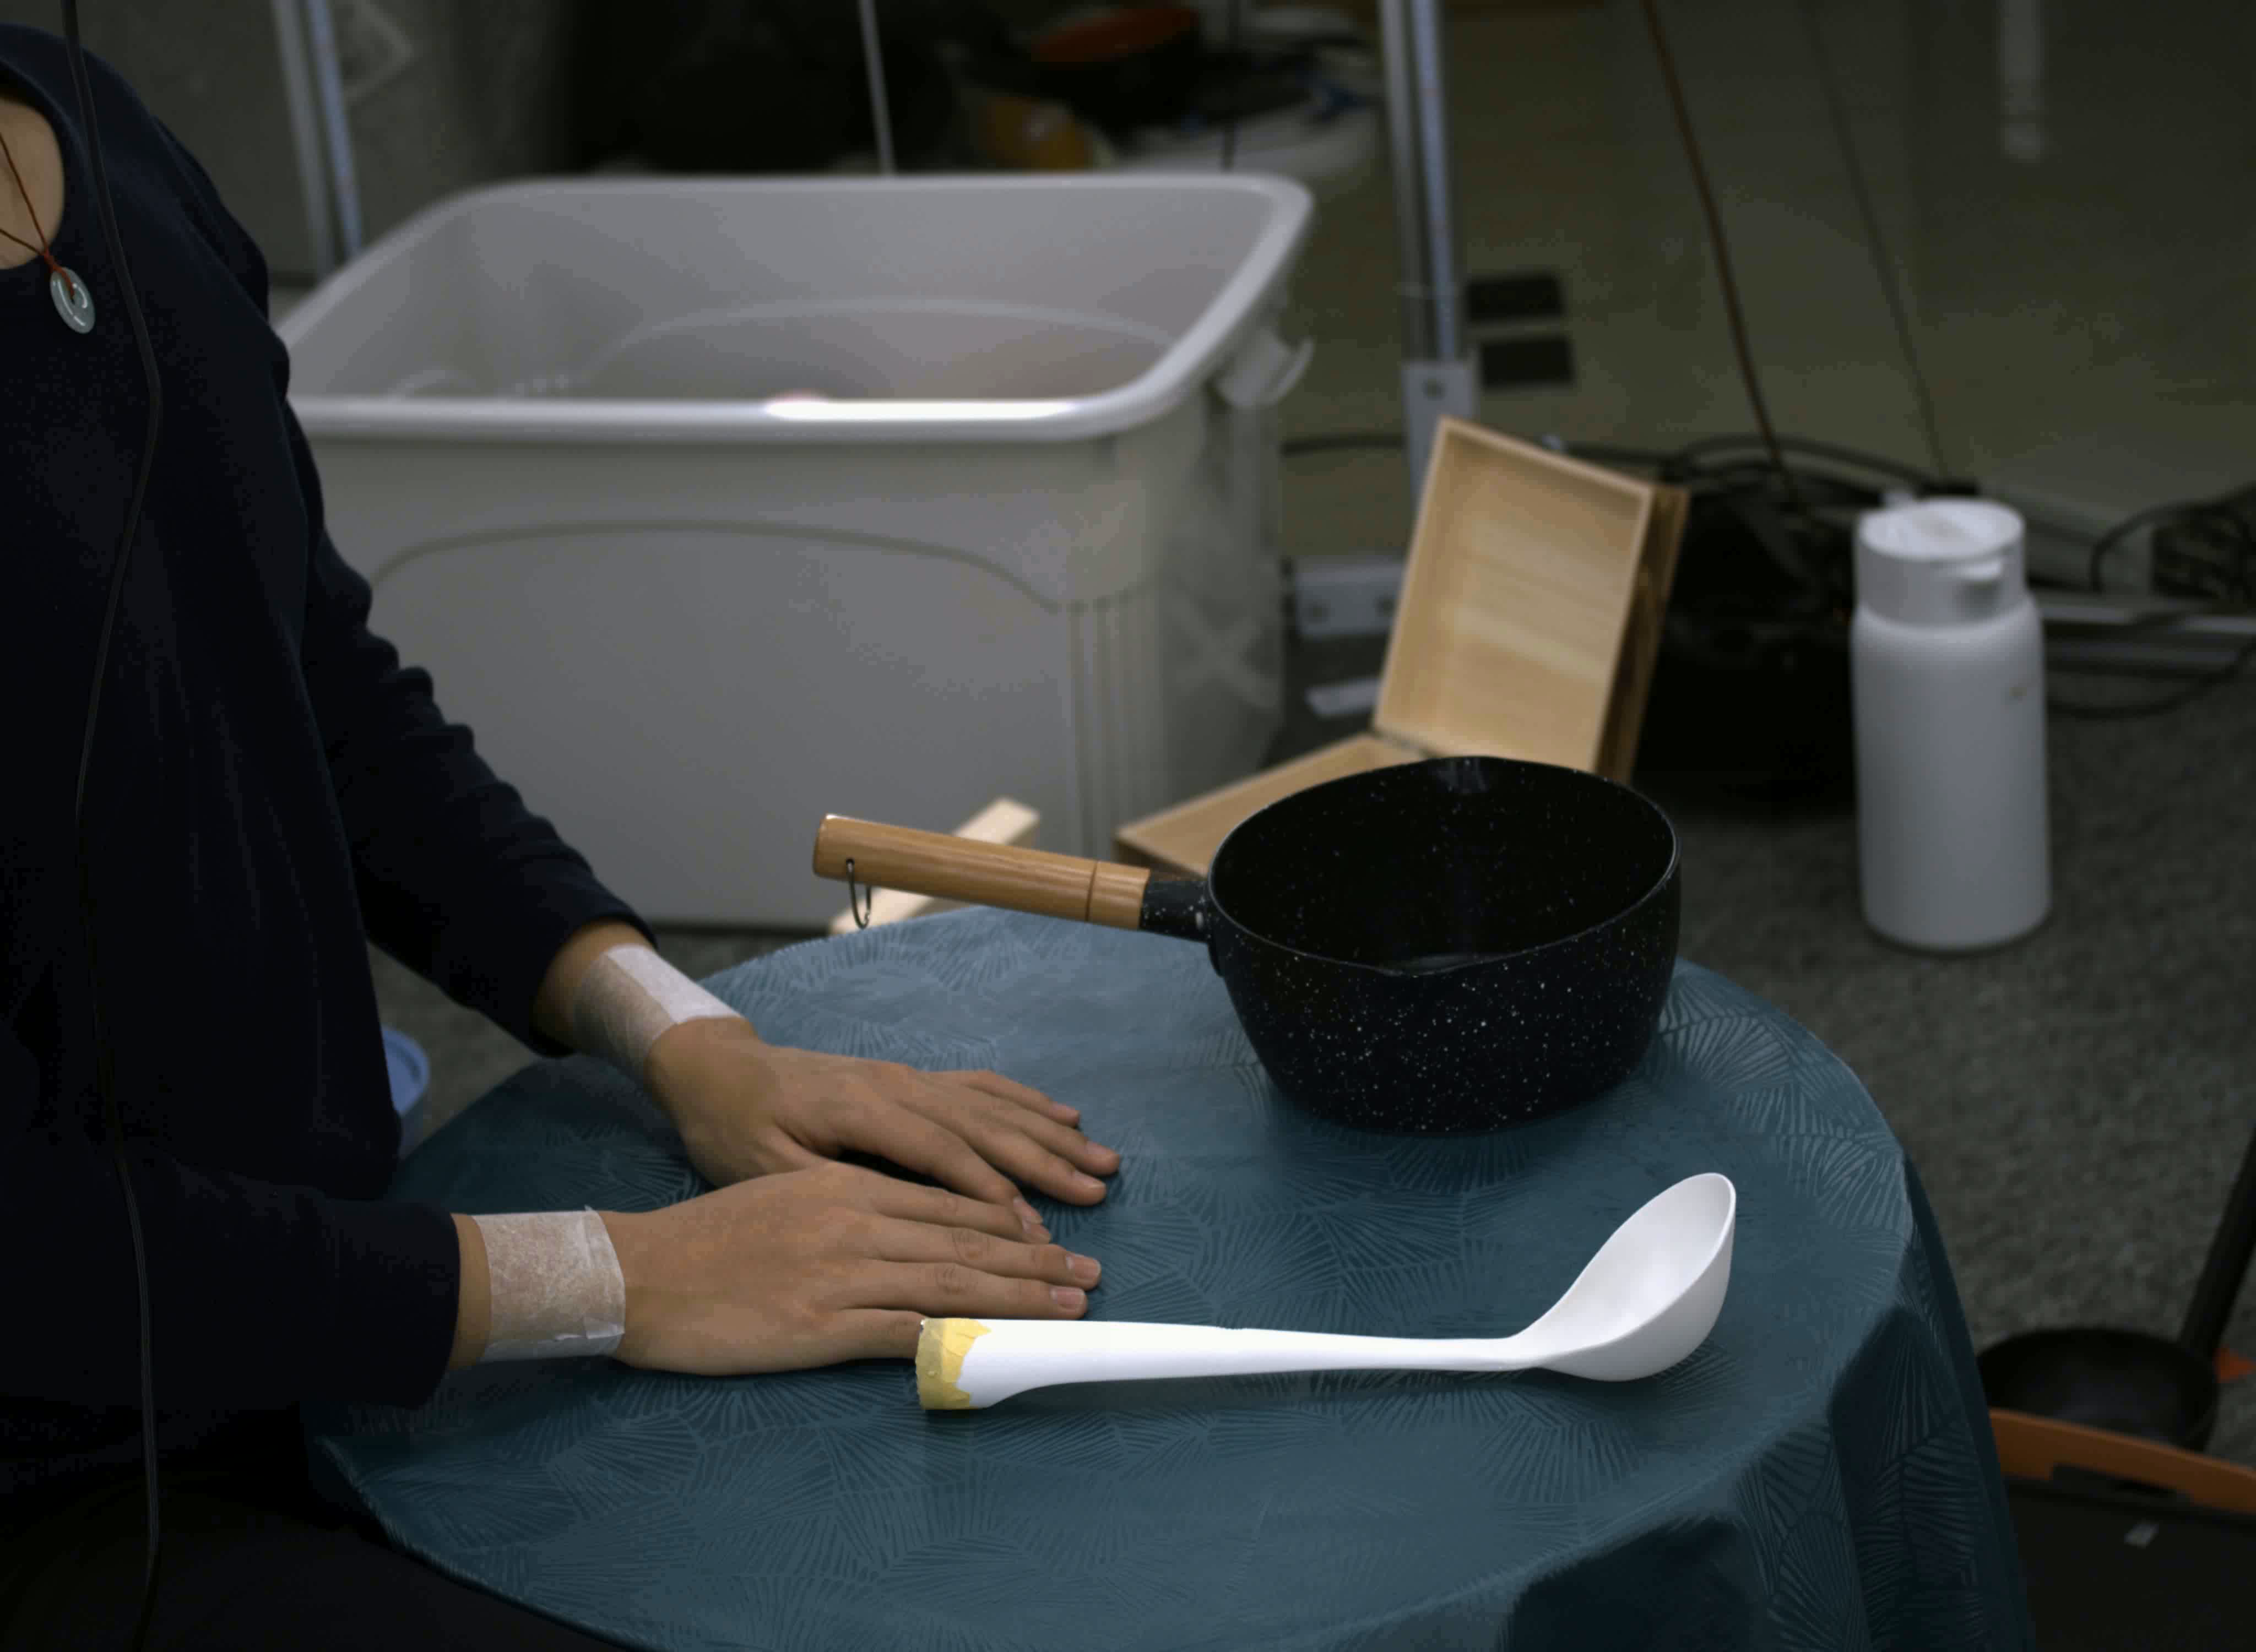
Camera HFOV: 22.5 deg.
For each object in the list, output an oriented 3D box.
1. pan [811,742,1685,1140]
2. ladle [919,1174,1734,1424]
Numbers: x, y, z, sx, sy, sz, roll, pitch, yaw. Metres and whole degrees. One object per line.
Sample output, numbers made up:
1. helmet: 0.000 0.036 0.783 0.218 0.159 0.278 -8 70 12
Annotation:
1. pan: 0.046 0.042 2.214 0.342 0.110 0.204 -1 27 9
2. ladle: 0.068 0.171 1.985 0.292 0.071 0.088 -4 31 9
